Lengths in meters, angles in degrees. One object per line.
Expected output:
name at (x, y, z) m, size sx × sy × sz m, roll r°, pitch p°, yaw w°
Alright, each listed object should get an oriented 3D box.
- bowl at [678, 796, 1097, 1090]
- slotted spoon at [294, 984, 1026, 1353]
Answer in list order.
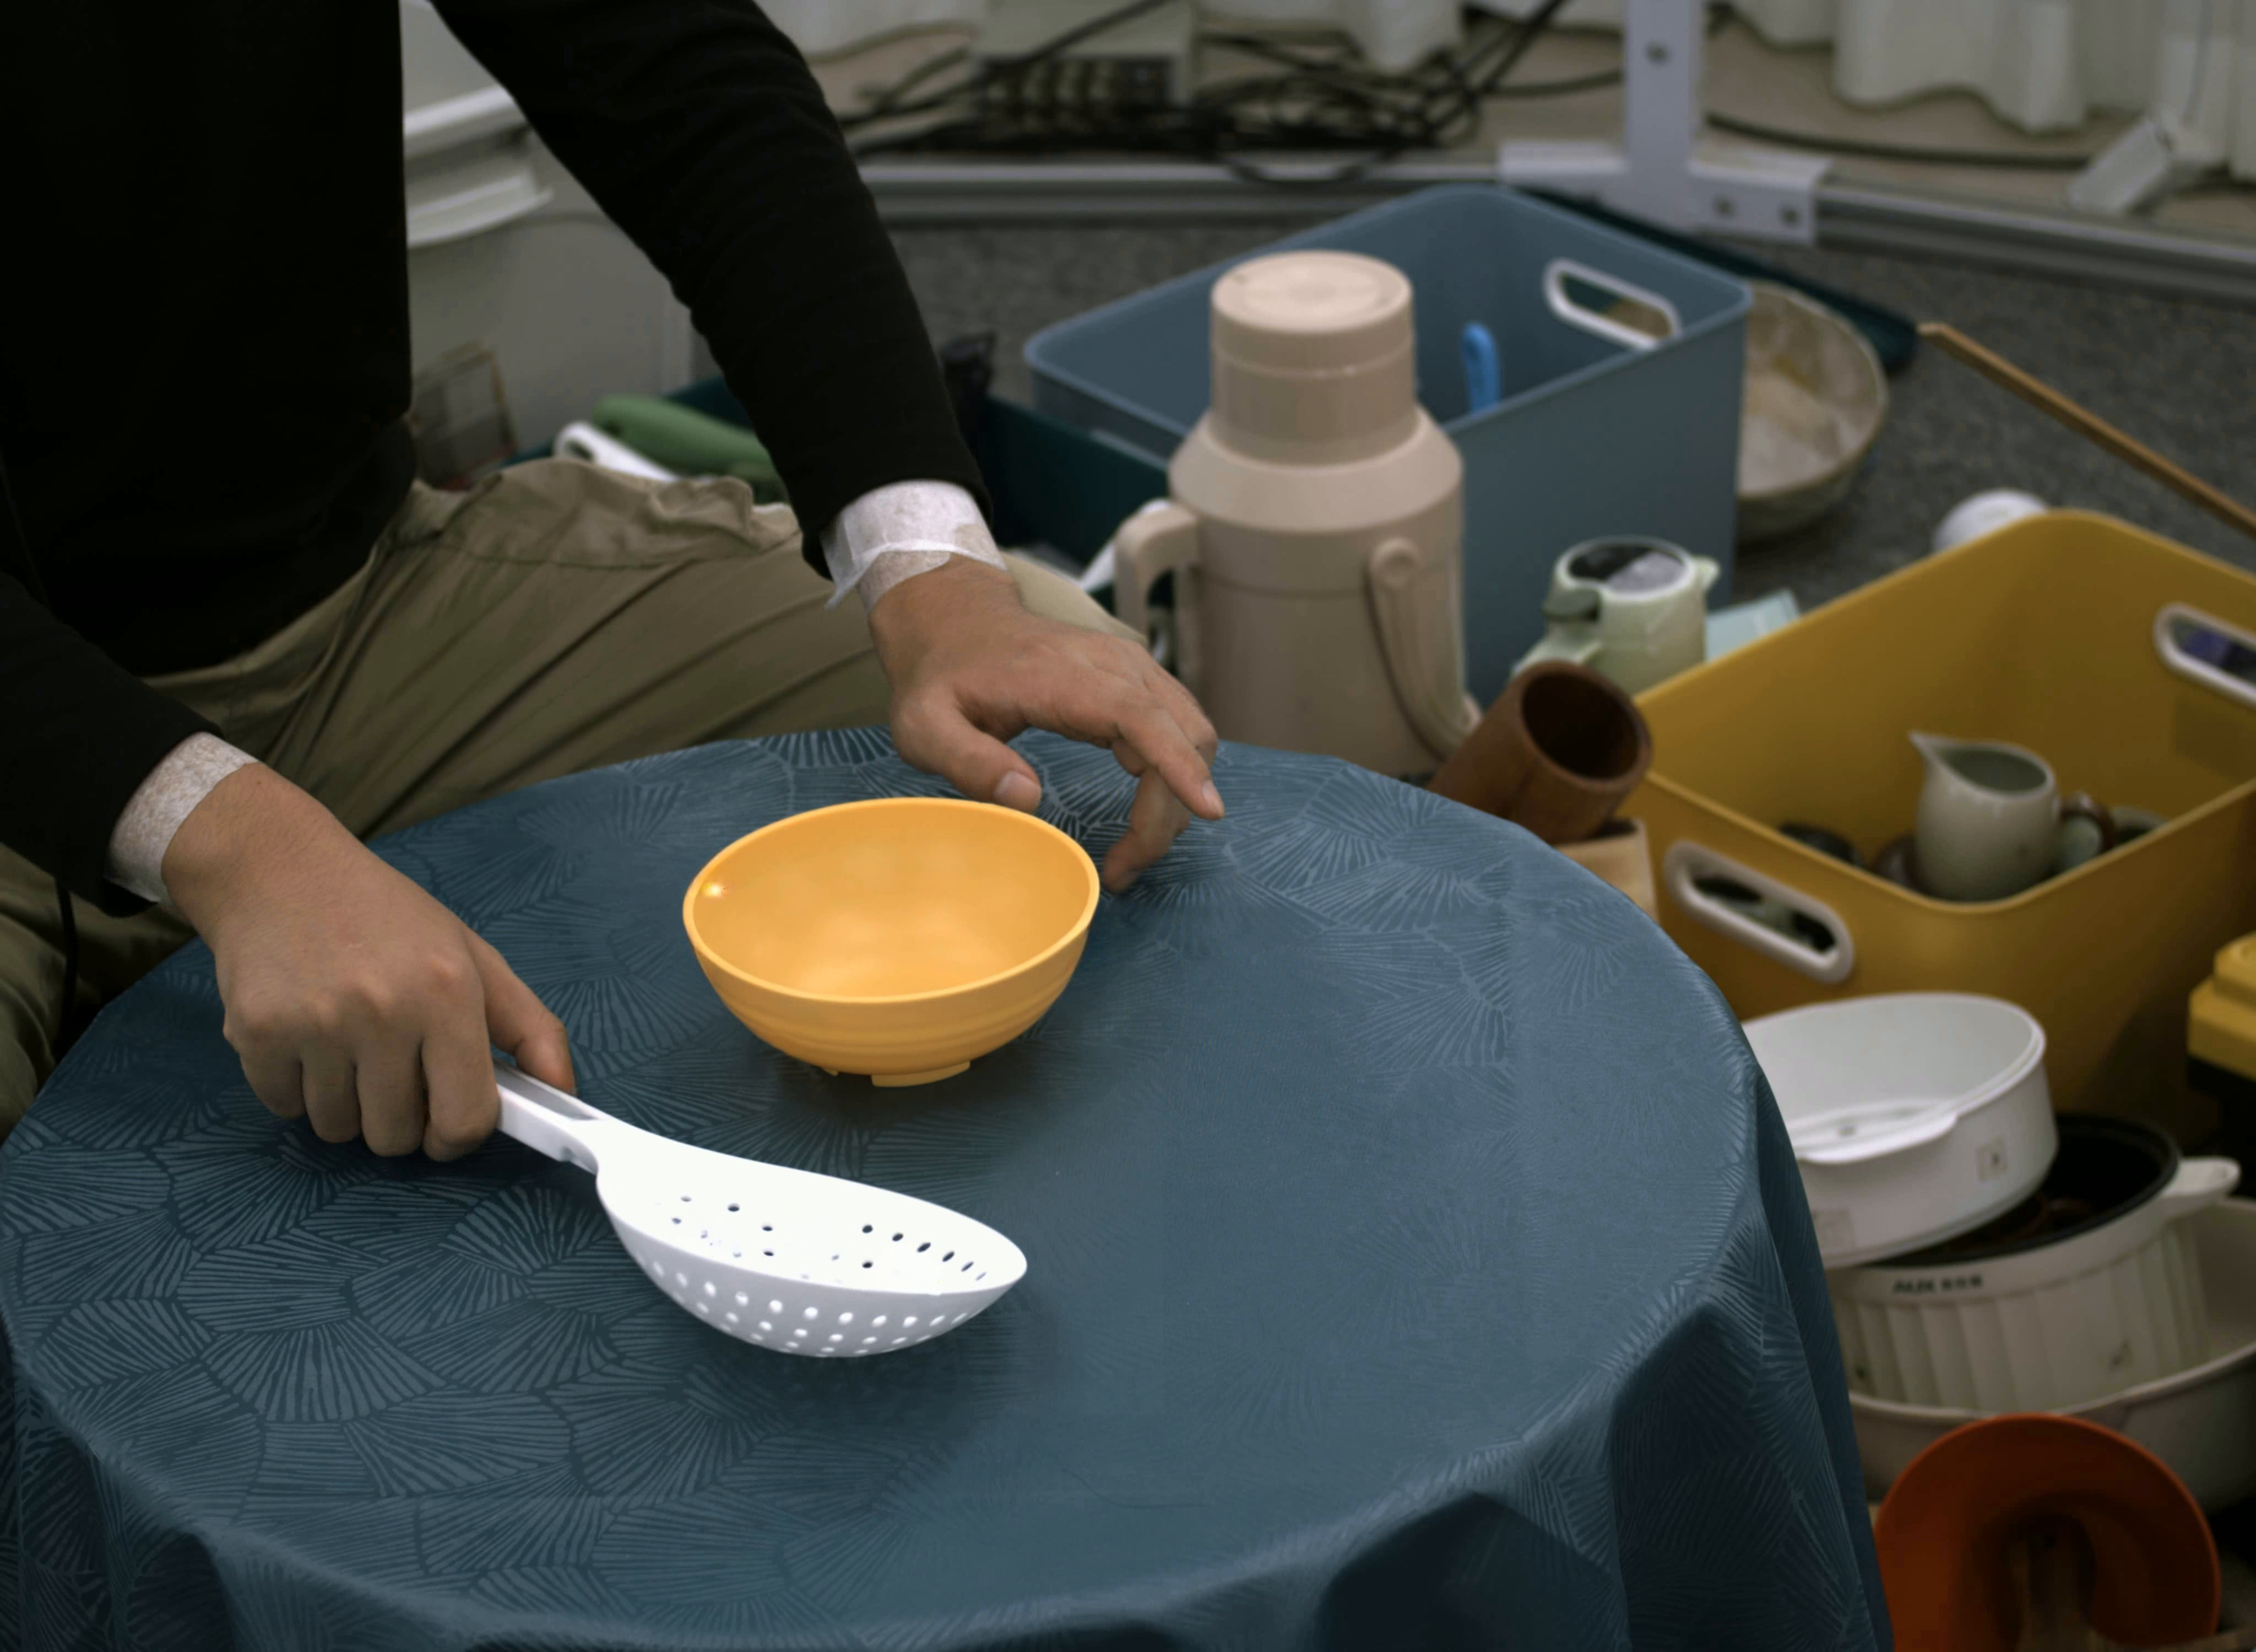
bowl at (-0.082, 0.050, 1.947) m, size 0.144 × 0.059 × 0.147 m, roll 0°, pitch 28°, yaw 1°
slotted spoon at (-0.170, 0.106, 1.846) m, size 0.136 × 0.045 × 0.350 m, roll 5°, pitch 15°, yaw -43°
